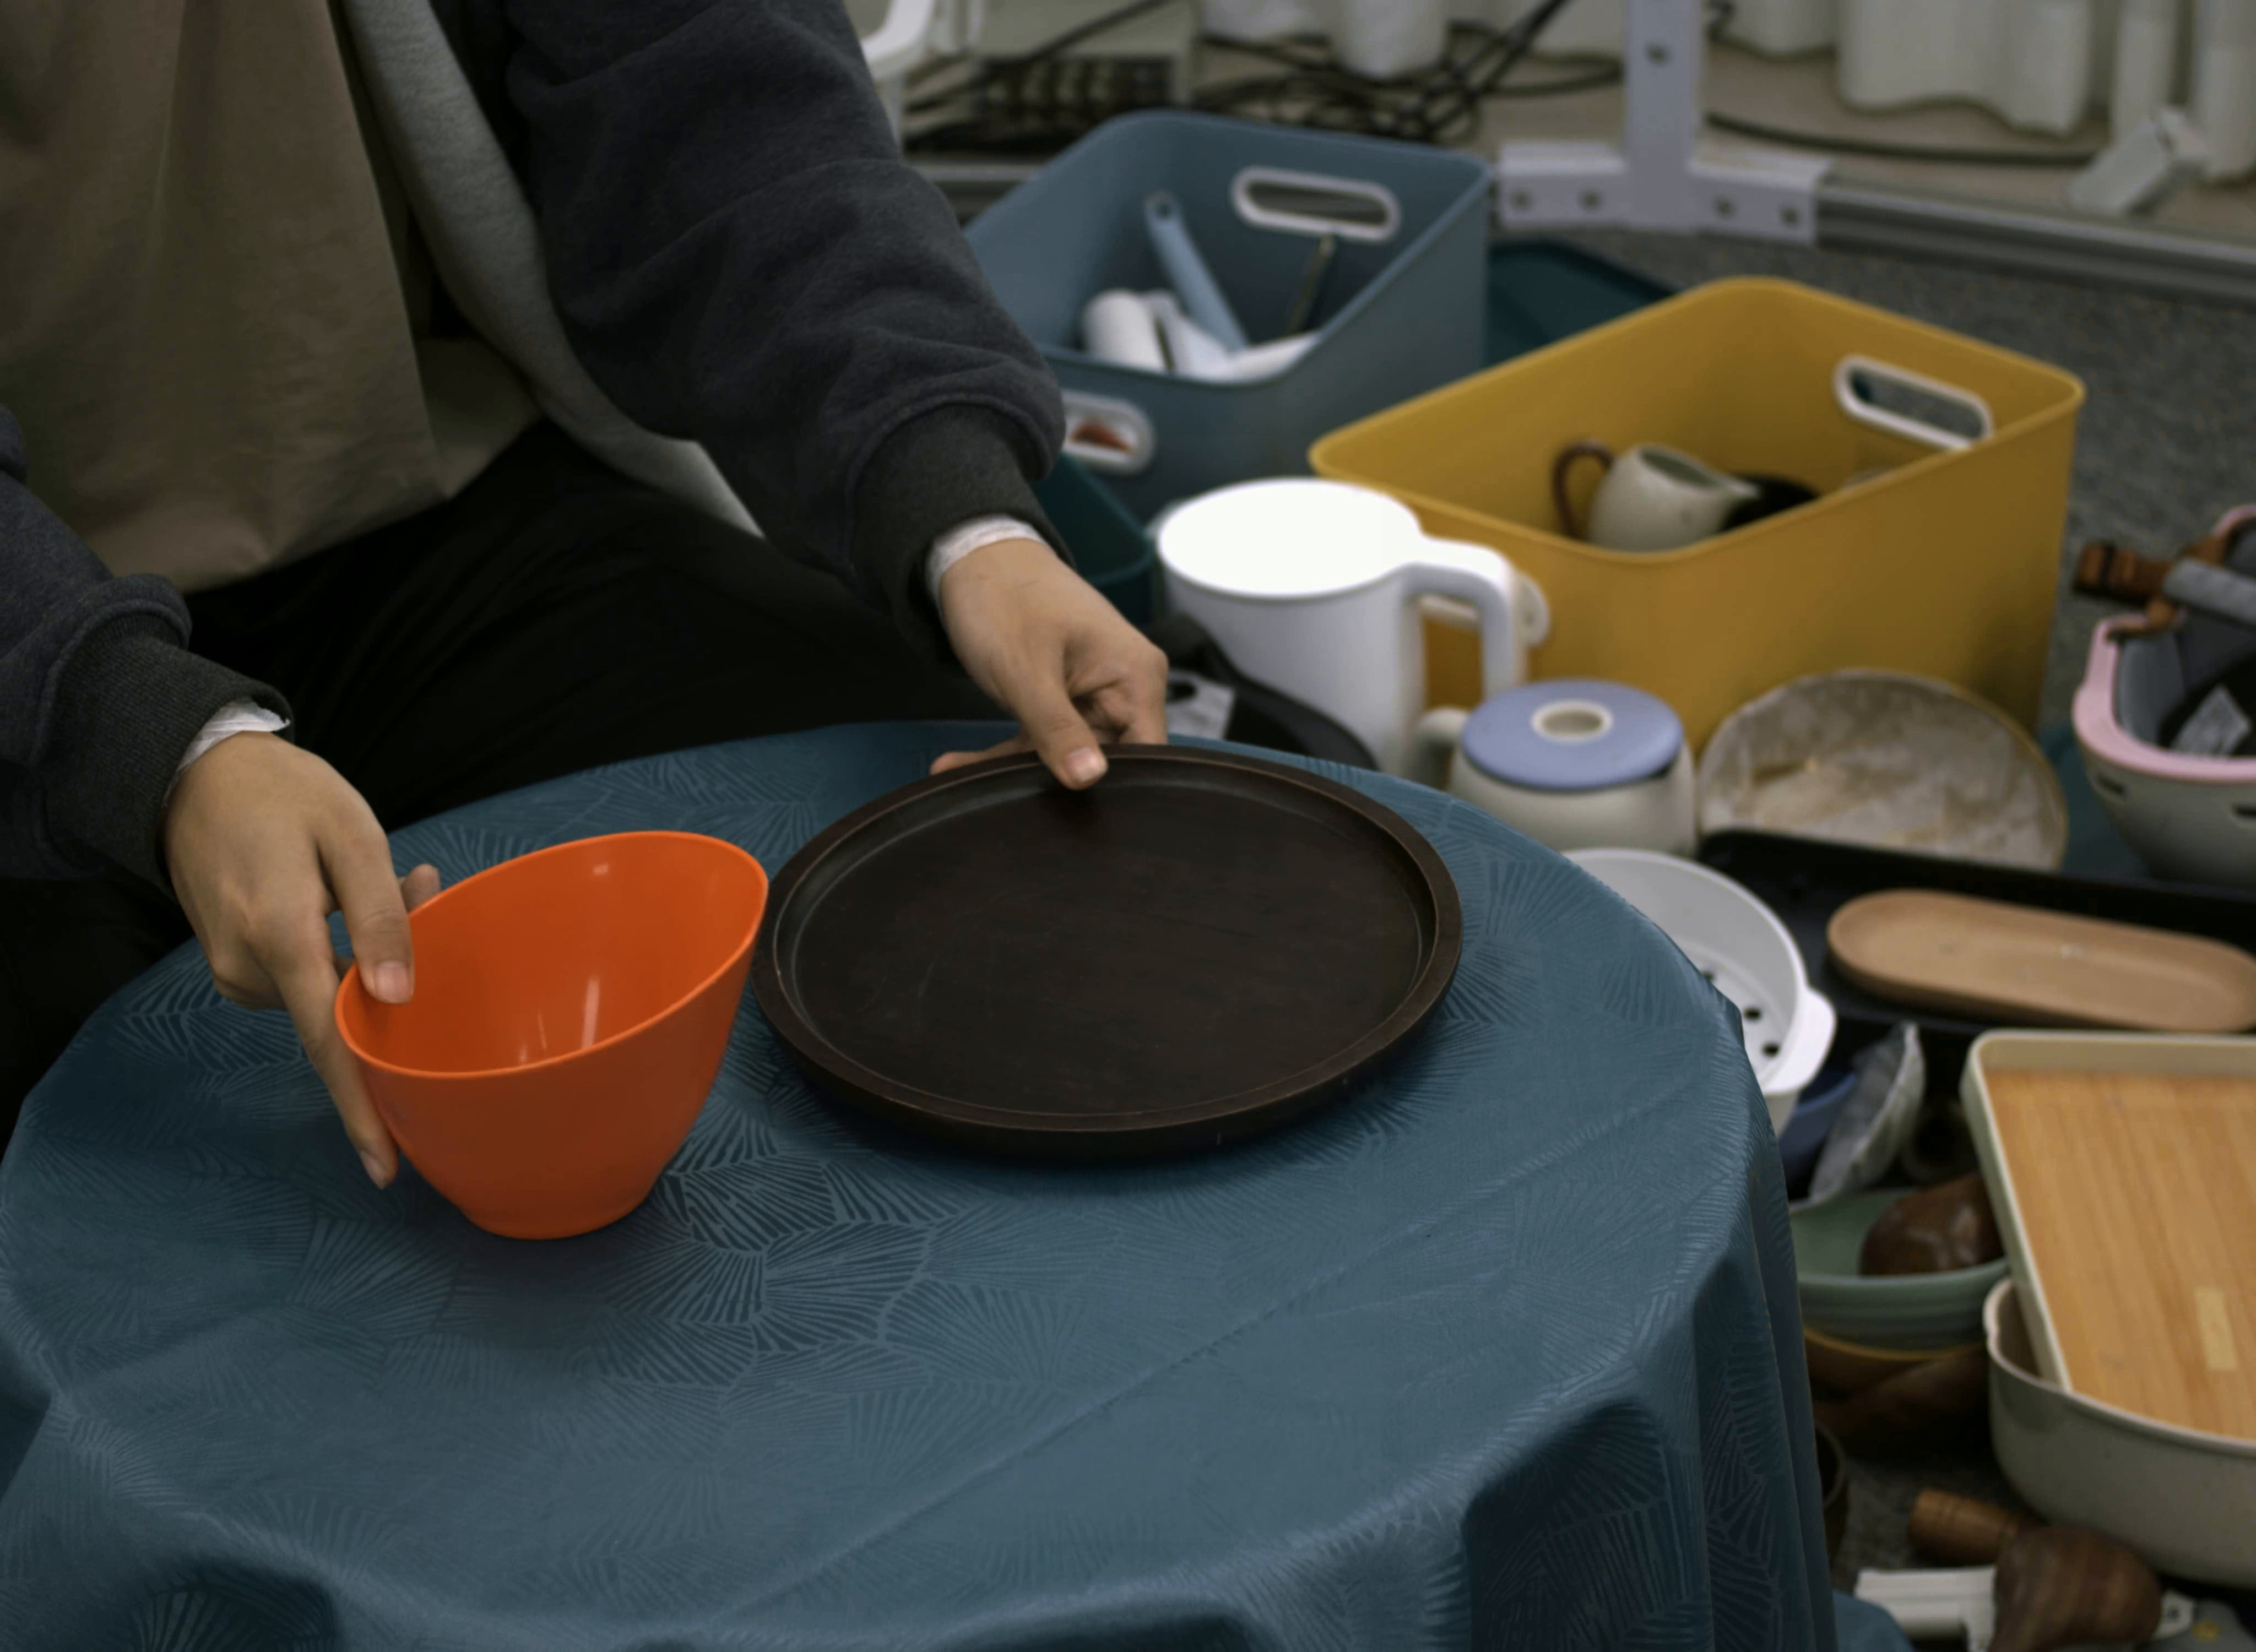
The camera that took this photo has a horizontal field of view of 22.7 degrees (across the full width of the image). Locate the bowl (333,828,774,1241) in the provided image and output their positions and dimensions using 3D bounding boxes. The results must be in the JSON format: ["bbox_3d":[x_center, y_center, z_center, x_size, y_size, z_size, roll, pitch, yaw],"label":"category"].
[{"bbox_3d":[-0.185,0.076,1.855,0.147,0.103,0.150,-3,31,2],"label":"bowl"}]

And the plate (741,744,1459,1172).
[{"bbox_3d":[-0.009,0.044,1.973,0.253,0.028,0.259,-3,32,2],"label":"plate"}]
